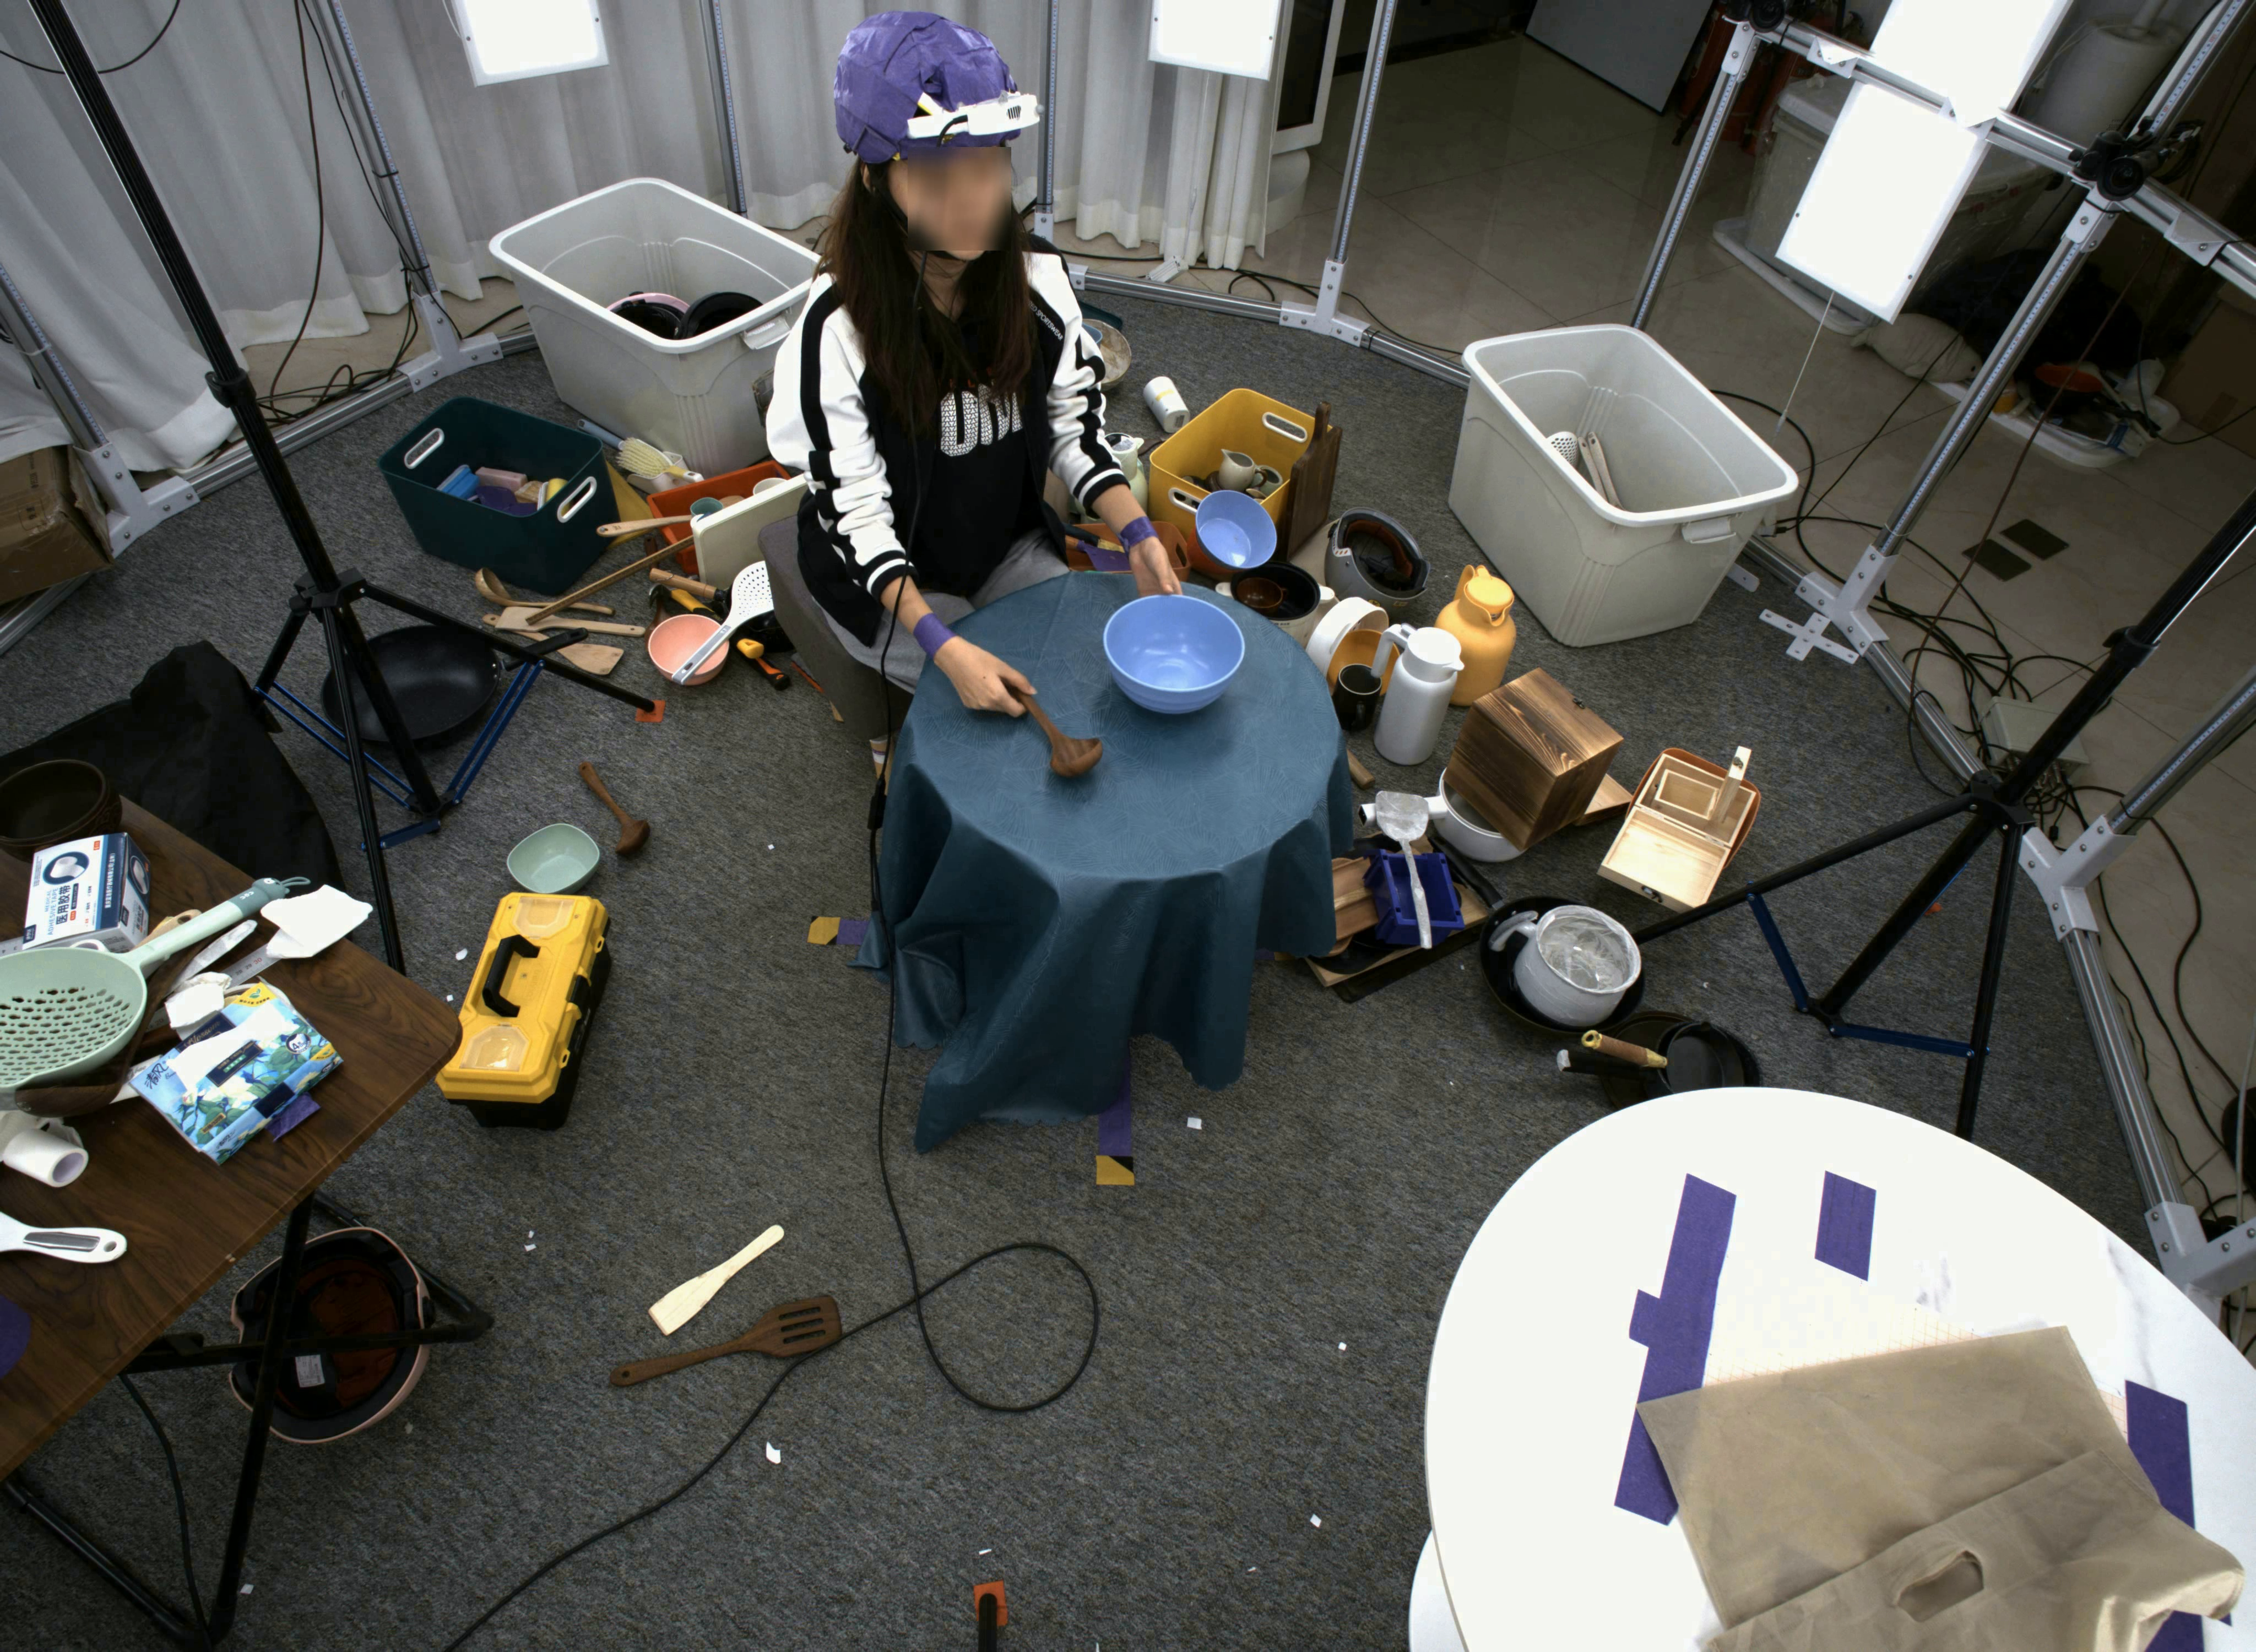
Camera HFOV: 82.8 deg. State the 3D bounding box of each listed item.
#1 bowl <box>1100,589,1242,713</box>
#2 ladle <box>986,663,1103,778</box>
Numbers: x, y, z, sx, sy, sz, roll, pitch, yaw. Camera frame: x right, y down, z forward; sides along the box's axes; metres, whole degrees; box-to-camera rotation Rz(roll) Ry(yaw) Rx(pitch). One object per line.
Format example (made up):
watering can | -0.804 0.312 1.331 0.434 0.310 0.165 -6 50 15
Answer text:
bowl | 0.059 -0.232 1.815 0.196 0.093 0.201 0 55 -1
ladle | -0.124 -0.157 1.756 0.077 0.063 0.265 -29 58 -18
